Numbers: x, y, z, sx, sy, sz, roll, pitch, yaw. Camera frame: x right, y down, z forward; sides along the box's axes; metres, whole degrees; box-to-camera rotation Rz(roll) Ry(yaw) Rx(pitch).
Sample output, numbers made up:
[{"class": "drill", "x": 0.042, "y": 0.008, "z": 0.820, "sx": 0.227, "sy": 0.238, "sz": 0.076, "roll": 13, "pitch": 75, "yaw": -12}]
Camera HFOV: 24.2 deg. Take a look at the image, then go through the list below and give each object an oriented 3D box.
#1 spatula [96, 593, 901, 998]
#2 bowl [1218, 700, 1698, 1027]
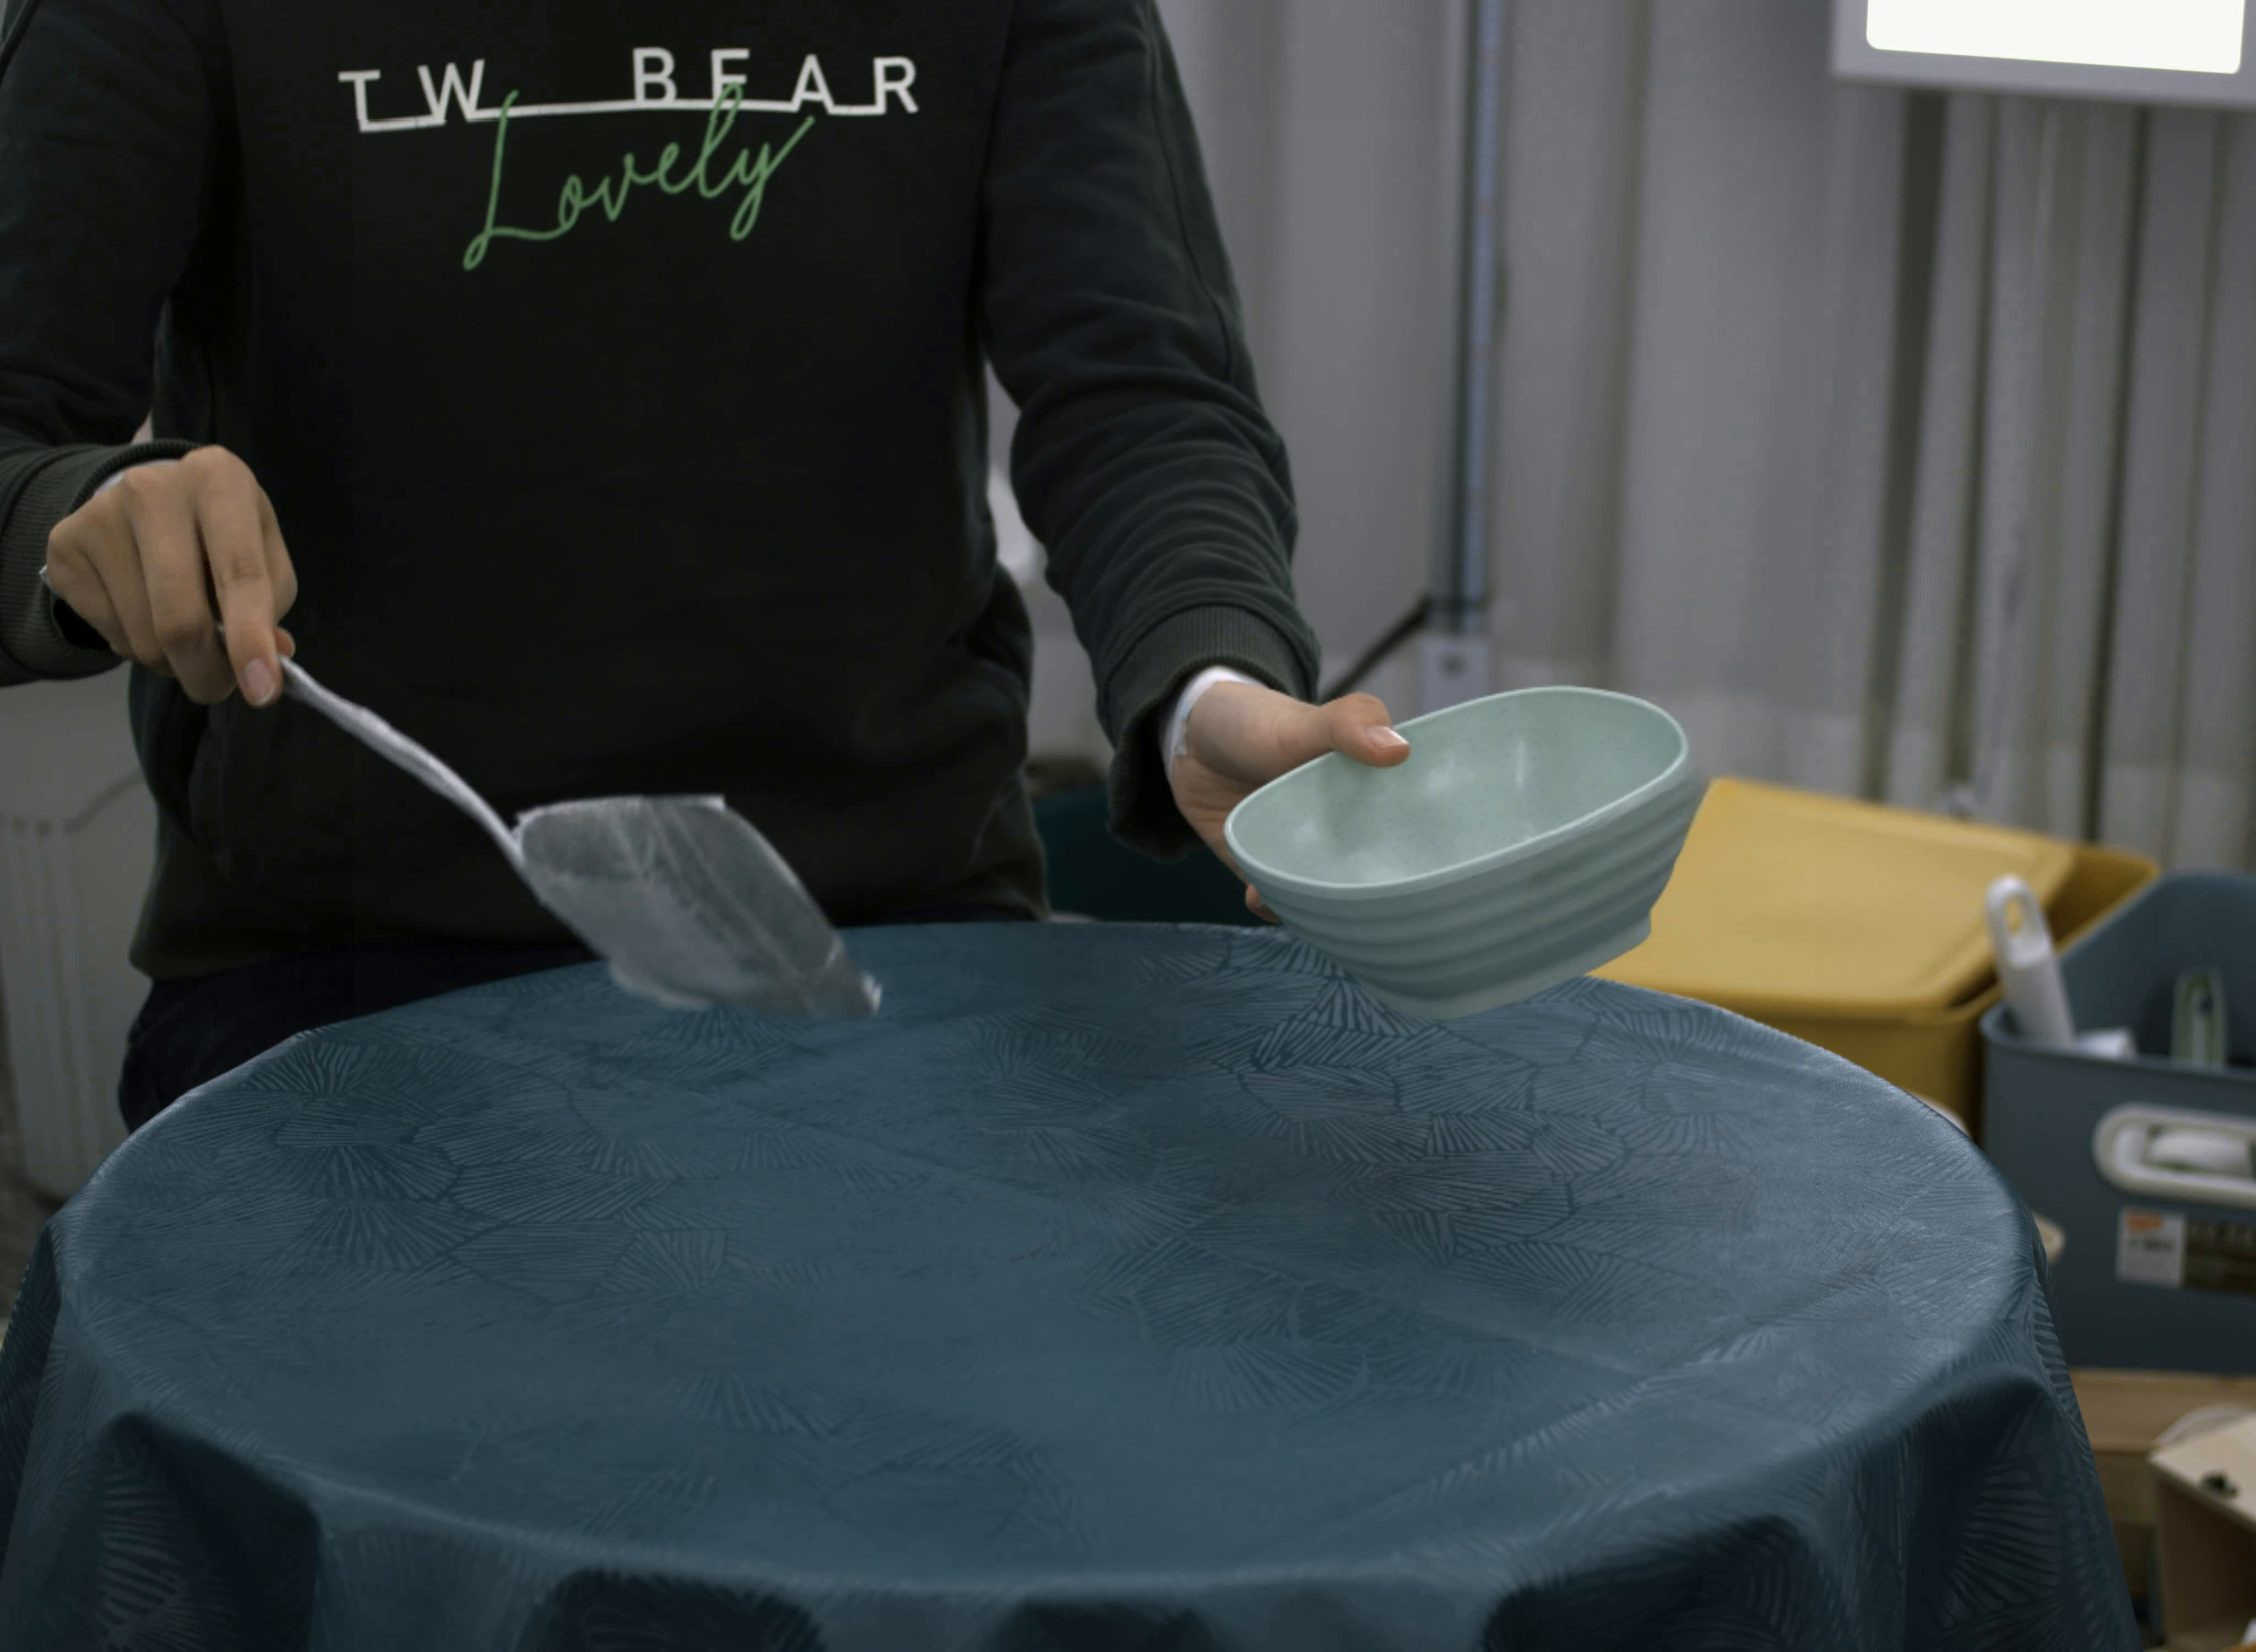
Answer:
[{"class": "spatula", "x": -0.201, "y": -0.024, "z": 1.527, "sx": 0.045, "sy": 0.100, "sz": 0.359, "roll": -49, "pitch": 44, "yaw": -13}, {"class": "bowl", "x": 0.105, "y": 0.015, "z": 1.604, "sx": 0.151, "sy": 0.059, "sz": 0.150, "roll": -11, "pitch": 19, "yaw": 5}]
